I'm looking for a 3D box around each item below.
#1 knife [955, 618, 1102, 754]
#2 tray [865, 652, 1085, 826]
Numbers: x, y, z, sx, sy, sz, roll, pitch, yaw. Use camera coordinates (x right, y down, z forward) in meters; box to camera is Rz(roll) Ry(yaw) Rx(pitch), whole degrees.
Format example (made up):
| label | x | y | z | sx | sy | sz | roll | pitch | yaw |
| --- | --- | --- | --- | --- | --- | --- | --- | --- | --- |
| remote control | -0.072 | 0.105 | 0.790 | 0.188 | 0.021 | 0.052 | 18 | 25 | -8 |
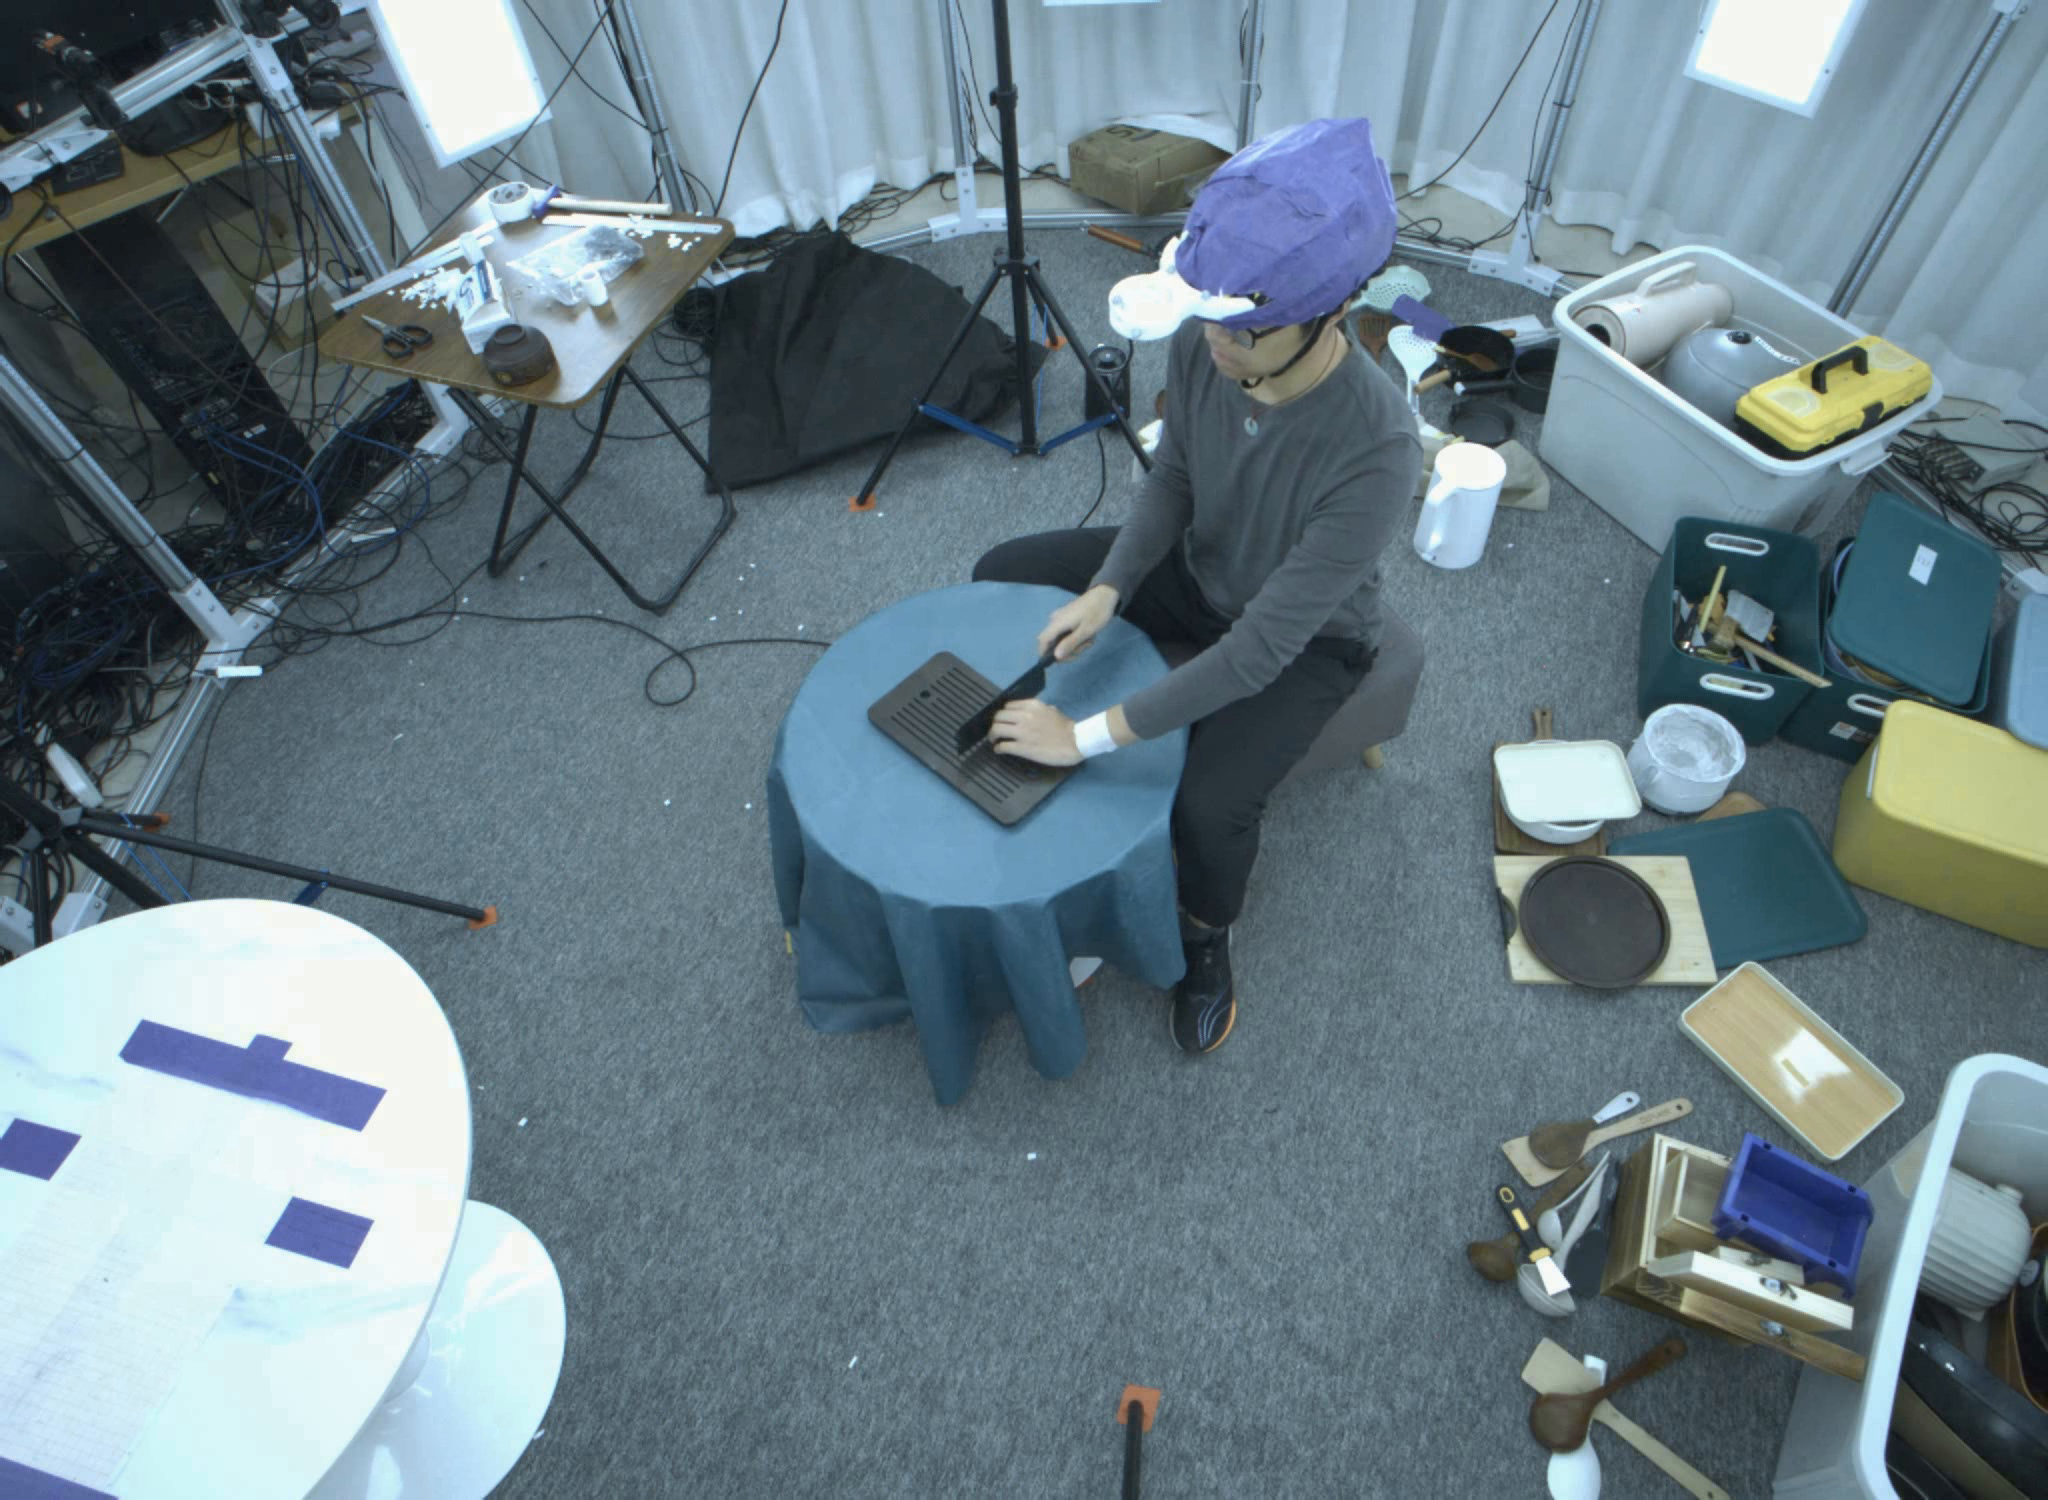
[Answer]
| label | x | y | z | sx | sy | sz | roll | pitch | yaw |
| --- | --- | --- | --- | --- | --- | --- | --- | --- | --- |
| knife | 0.008 | -0.098 | 1.797 | 0.020 | 0.082 | 0.304 | 37 | 65 | 25 |
| tray | -0.074 | -0.020 | 1.800 | 0.300 | 0.019 | 0.171 | 37 | 62 | 24 |
